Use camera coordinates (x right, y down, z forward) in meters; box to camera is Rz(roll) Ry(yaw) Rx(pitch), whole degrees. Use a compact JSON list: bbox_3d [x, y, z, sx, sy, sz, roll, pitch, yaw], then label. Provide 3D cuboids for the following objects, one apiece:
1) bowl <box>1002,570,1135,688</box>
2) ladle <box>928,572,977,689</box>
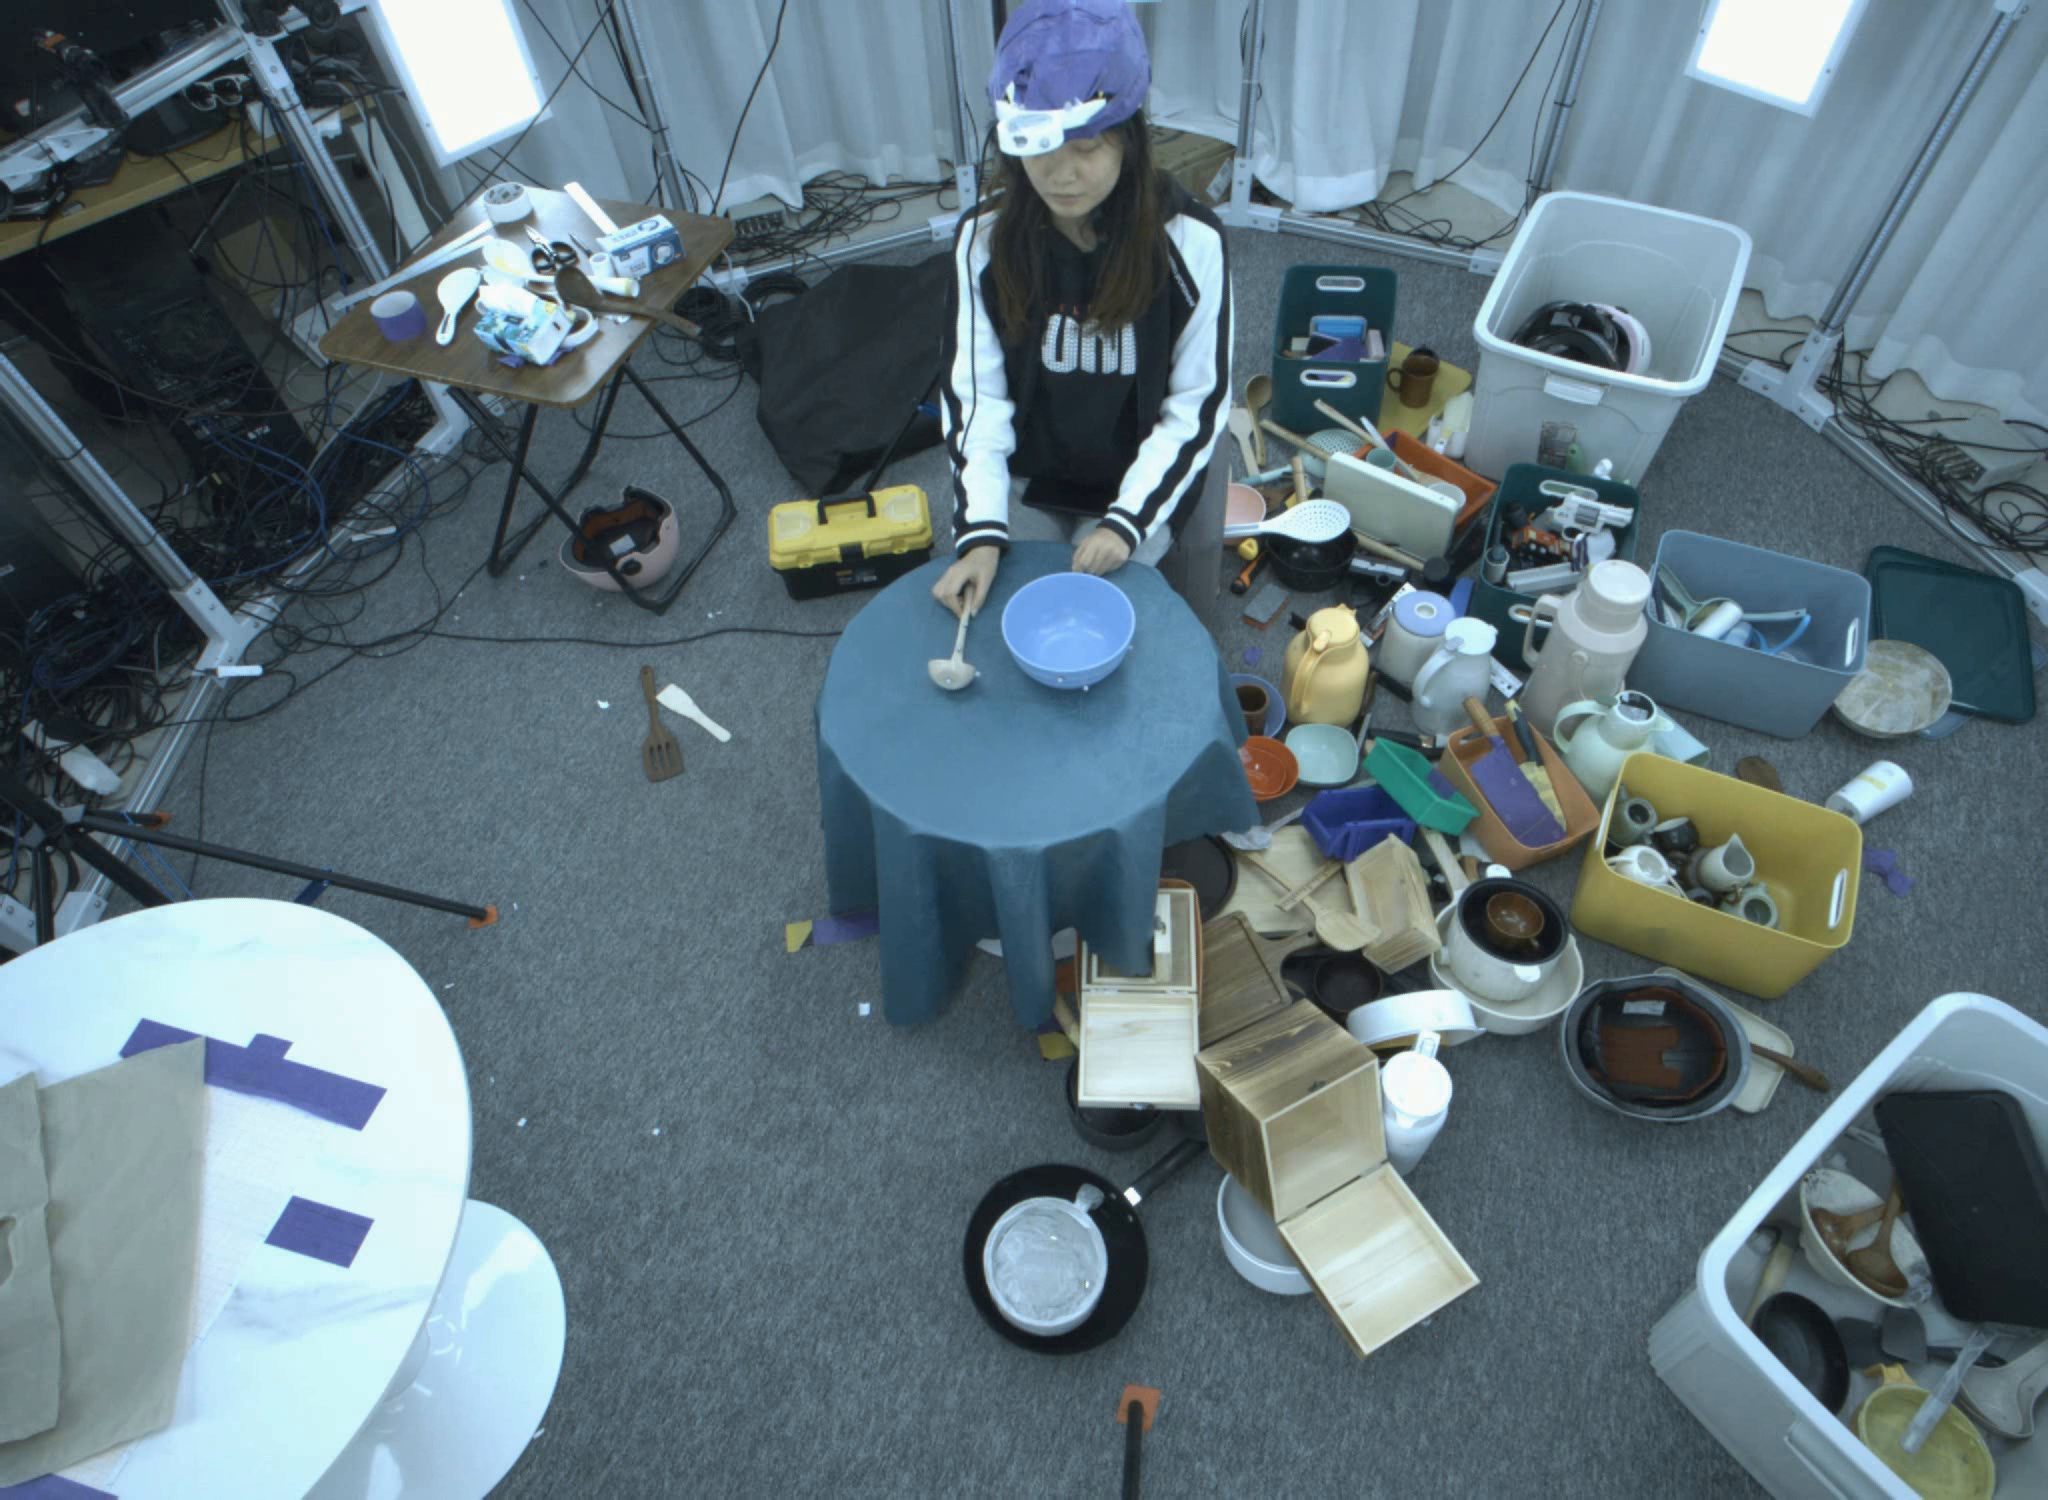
[{"bbox_3d":[0.068,-0.165,1.843,0.196,0.096,0.194,0,57,2],"label":"bowl"},{"bbox_3d":[-0.099,-0.205,1.888,0.072,0.073,0.252,5,57,1],"label":"ladle"}]
